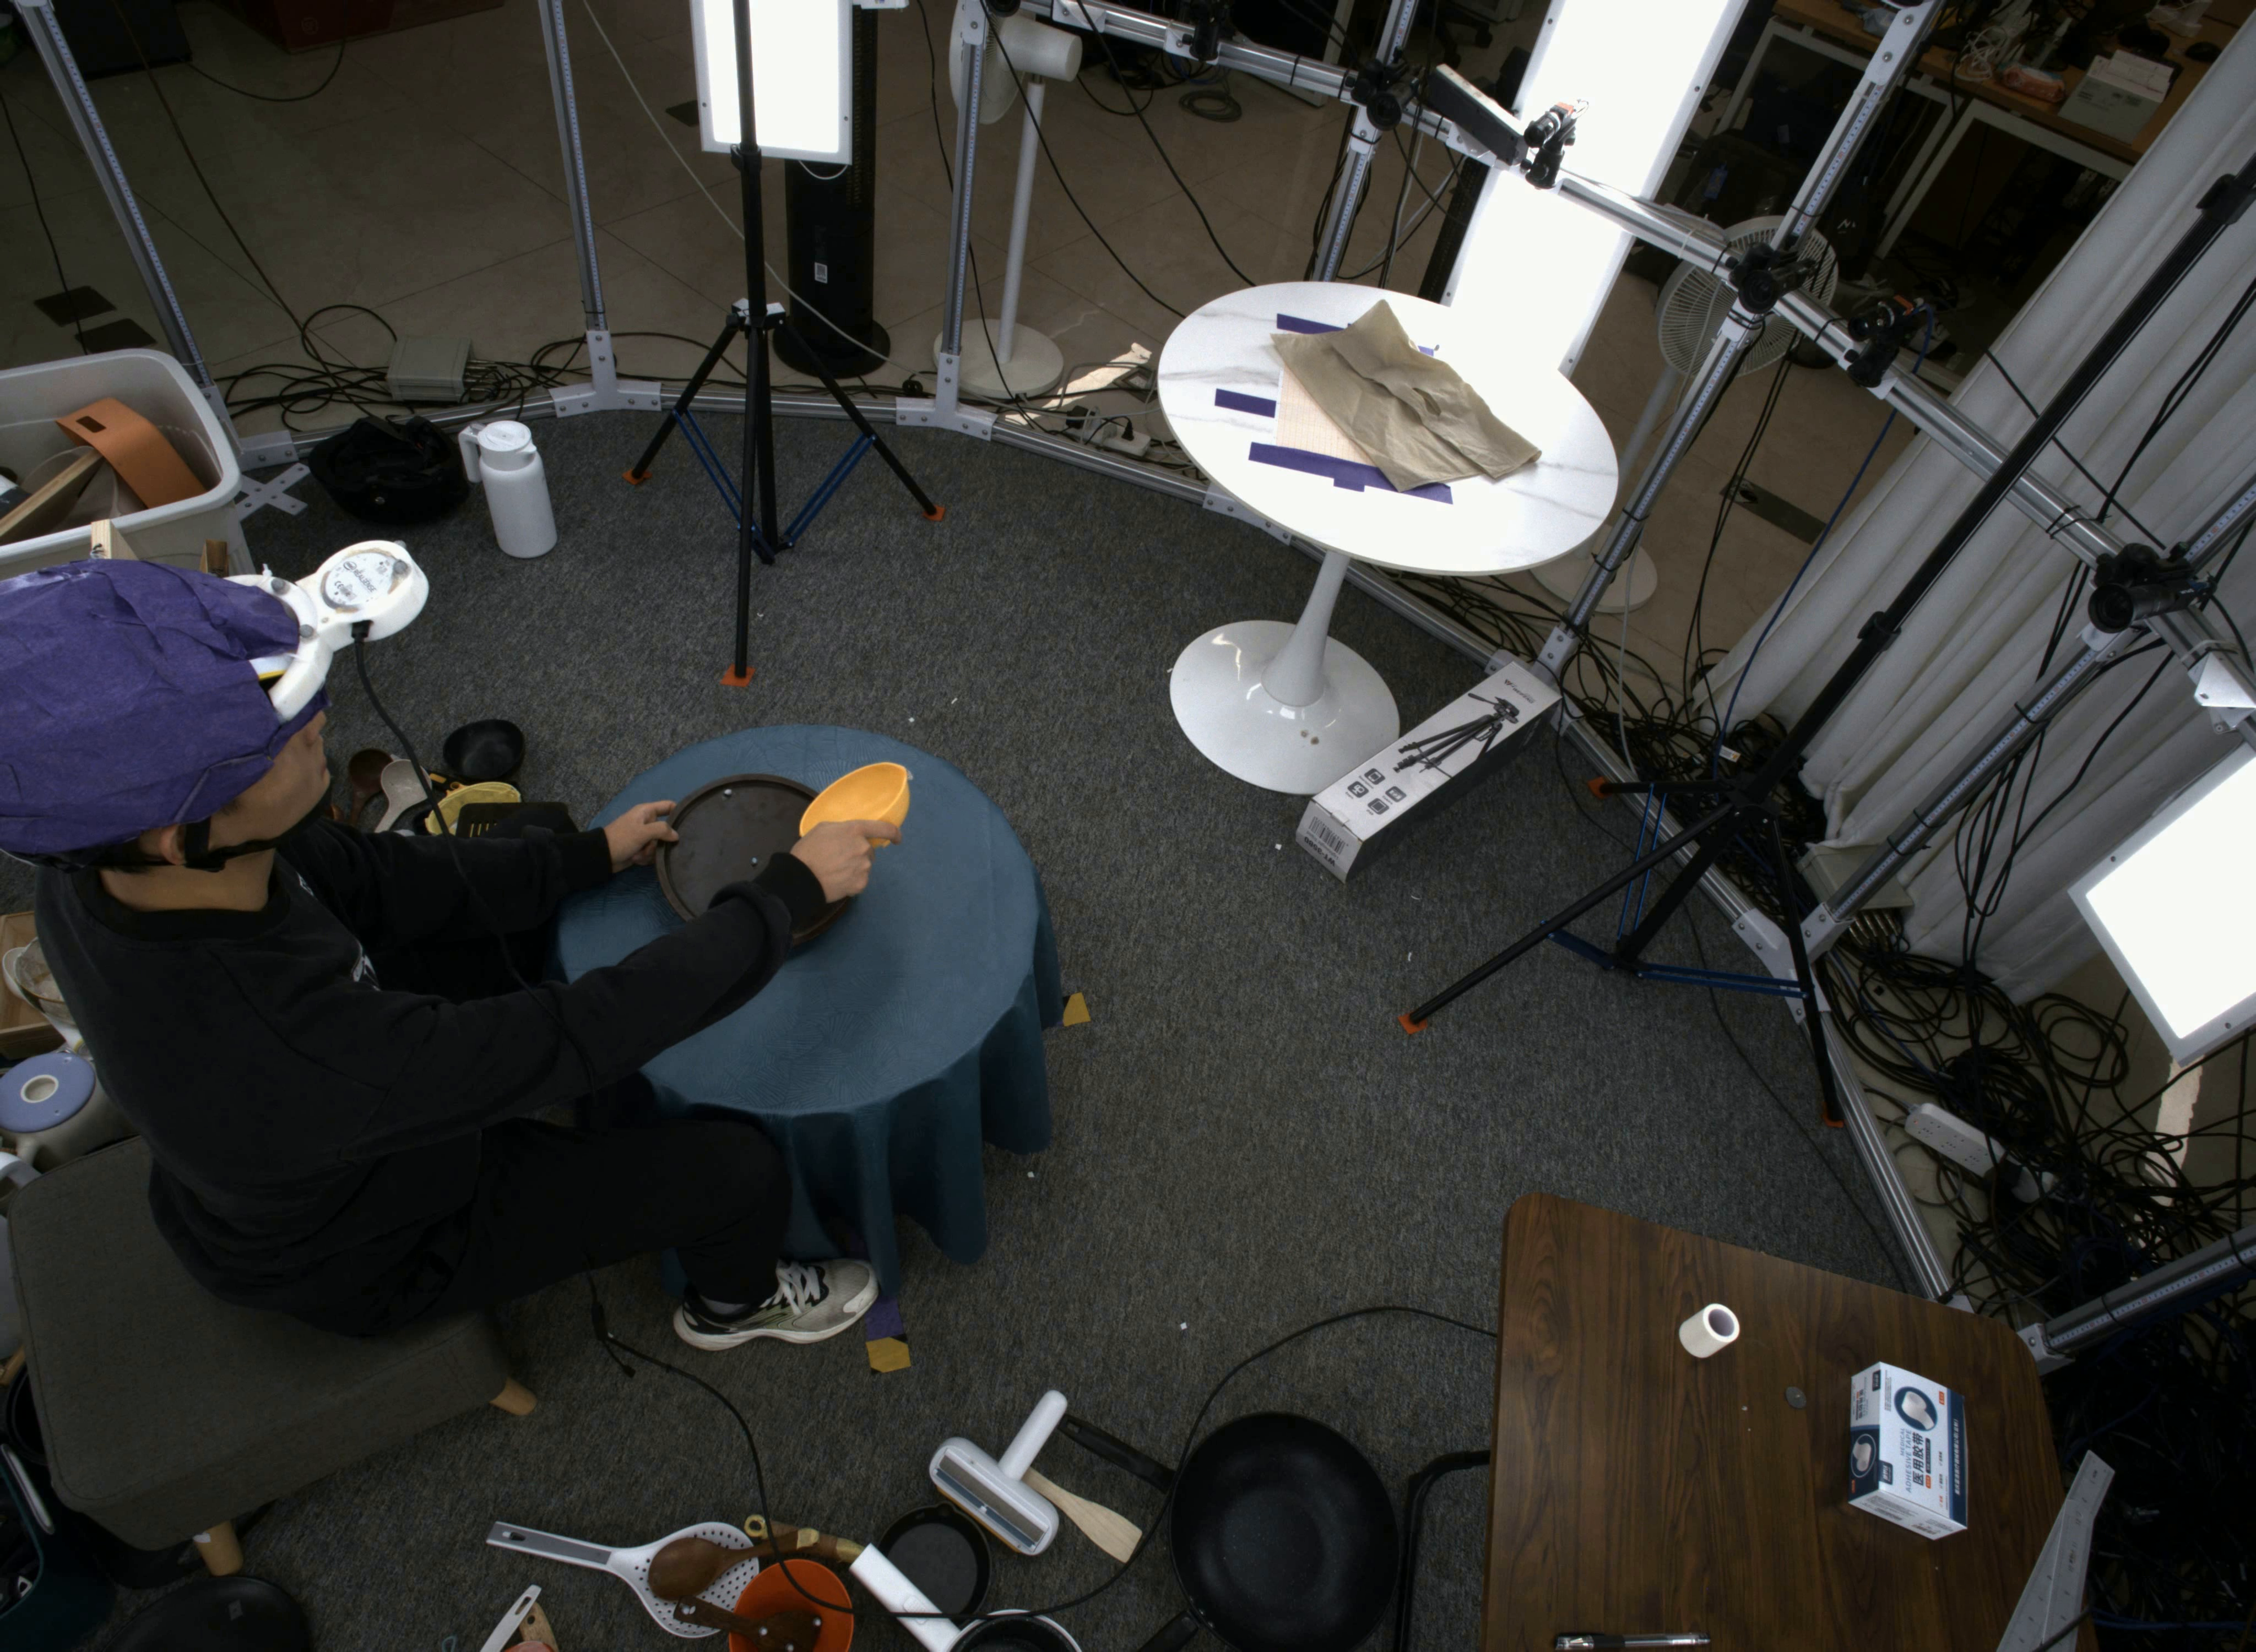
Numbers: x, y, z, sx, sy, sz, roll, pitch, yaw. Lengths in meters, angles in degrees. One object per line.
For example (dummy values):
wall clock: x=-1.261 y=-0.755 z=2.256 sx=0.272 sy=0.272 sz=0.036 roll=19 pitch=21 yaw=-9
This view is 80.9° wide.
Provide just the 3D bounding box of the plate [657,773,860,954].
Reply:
plate: x=-0.467 y=0.045 z=1.642 sx=0.257 sy=0.029 sz=0.251 roll=12 pitch=60 yaw=-19

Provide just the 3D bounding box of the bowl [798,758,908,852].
bowl: x=-0.319 y=-0.014 z=1.561 sx=0.143 sy=0.062 sz=0.142 roll=-17 pitch=34 yaw=14
